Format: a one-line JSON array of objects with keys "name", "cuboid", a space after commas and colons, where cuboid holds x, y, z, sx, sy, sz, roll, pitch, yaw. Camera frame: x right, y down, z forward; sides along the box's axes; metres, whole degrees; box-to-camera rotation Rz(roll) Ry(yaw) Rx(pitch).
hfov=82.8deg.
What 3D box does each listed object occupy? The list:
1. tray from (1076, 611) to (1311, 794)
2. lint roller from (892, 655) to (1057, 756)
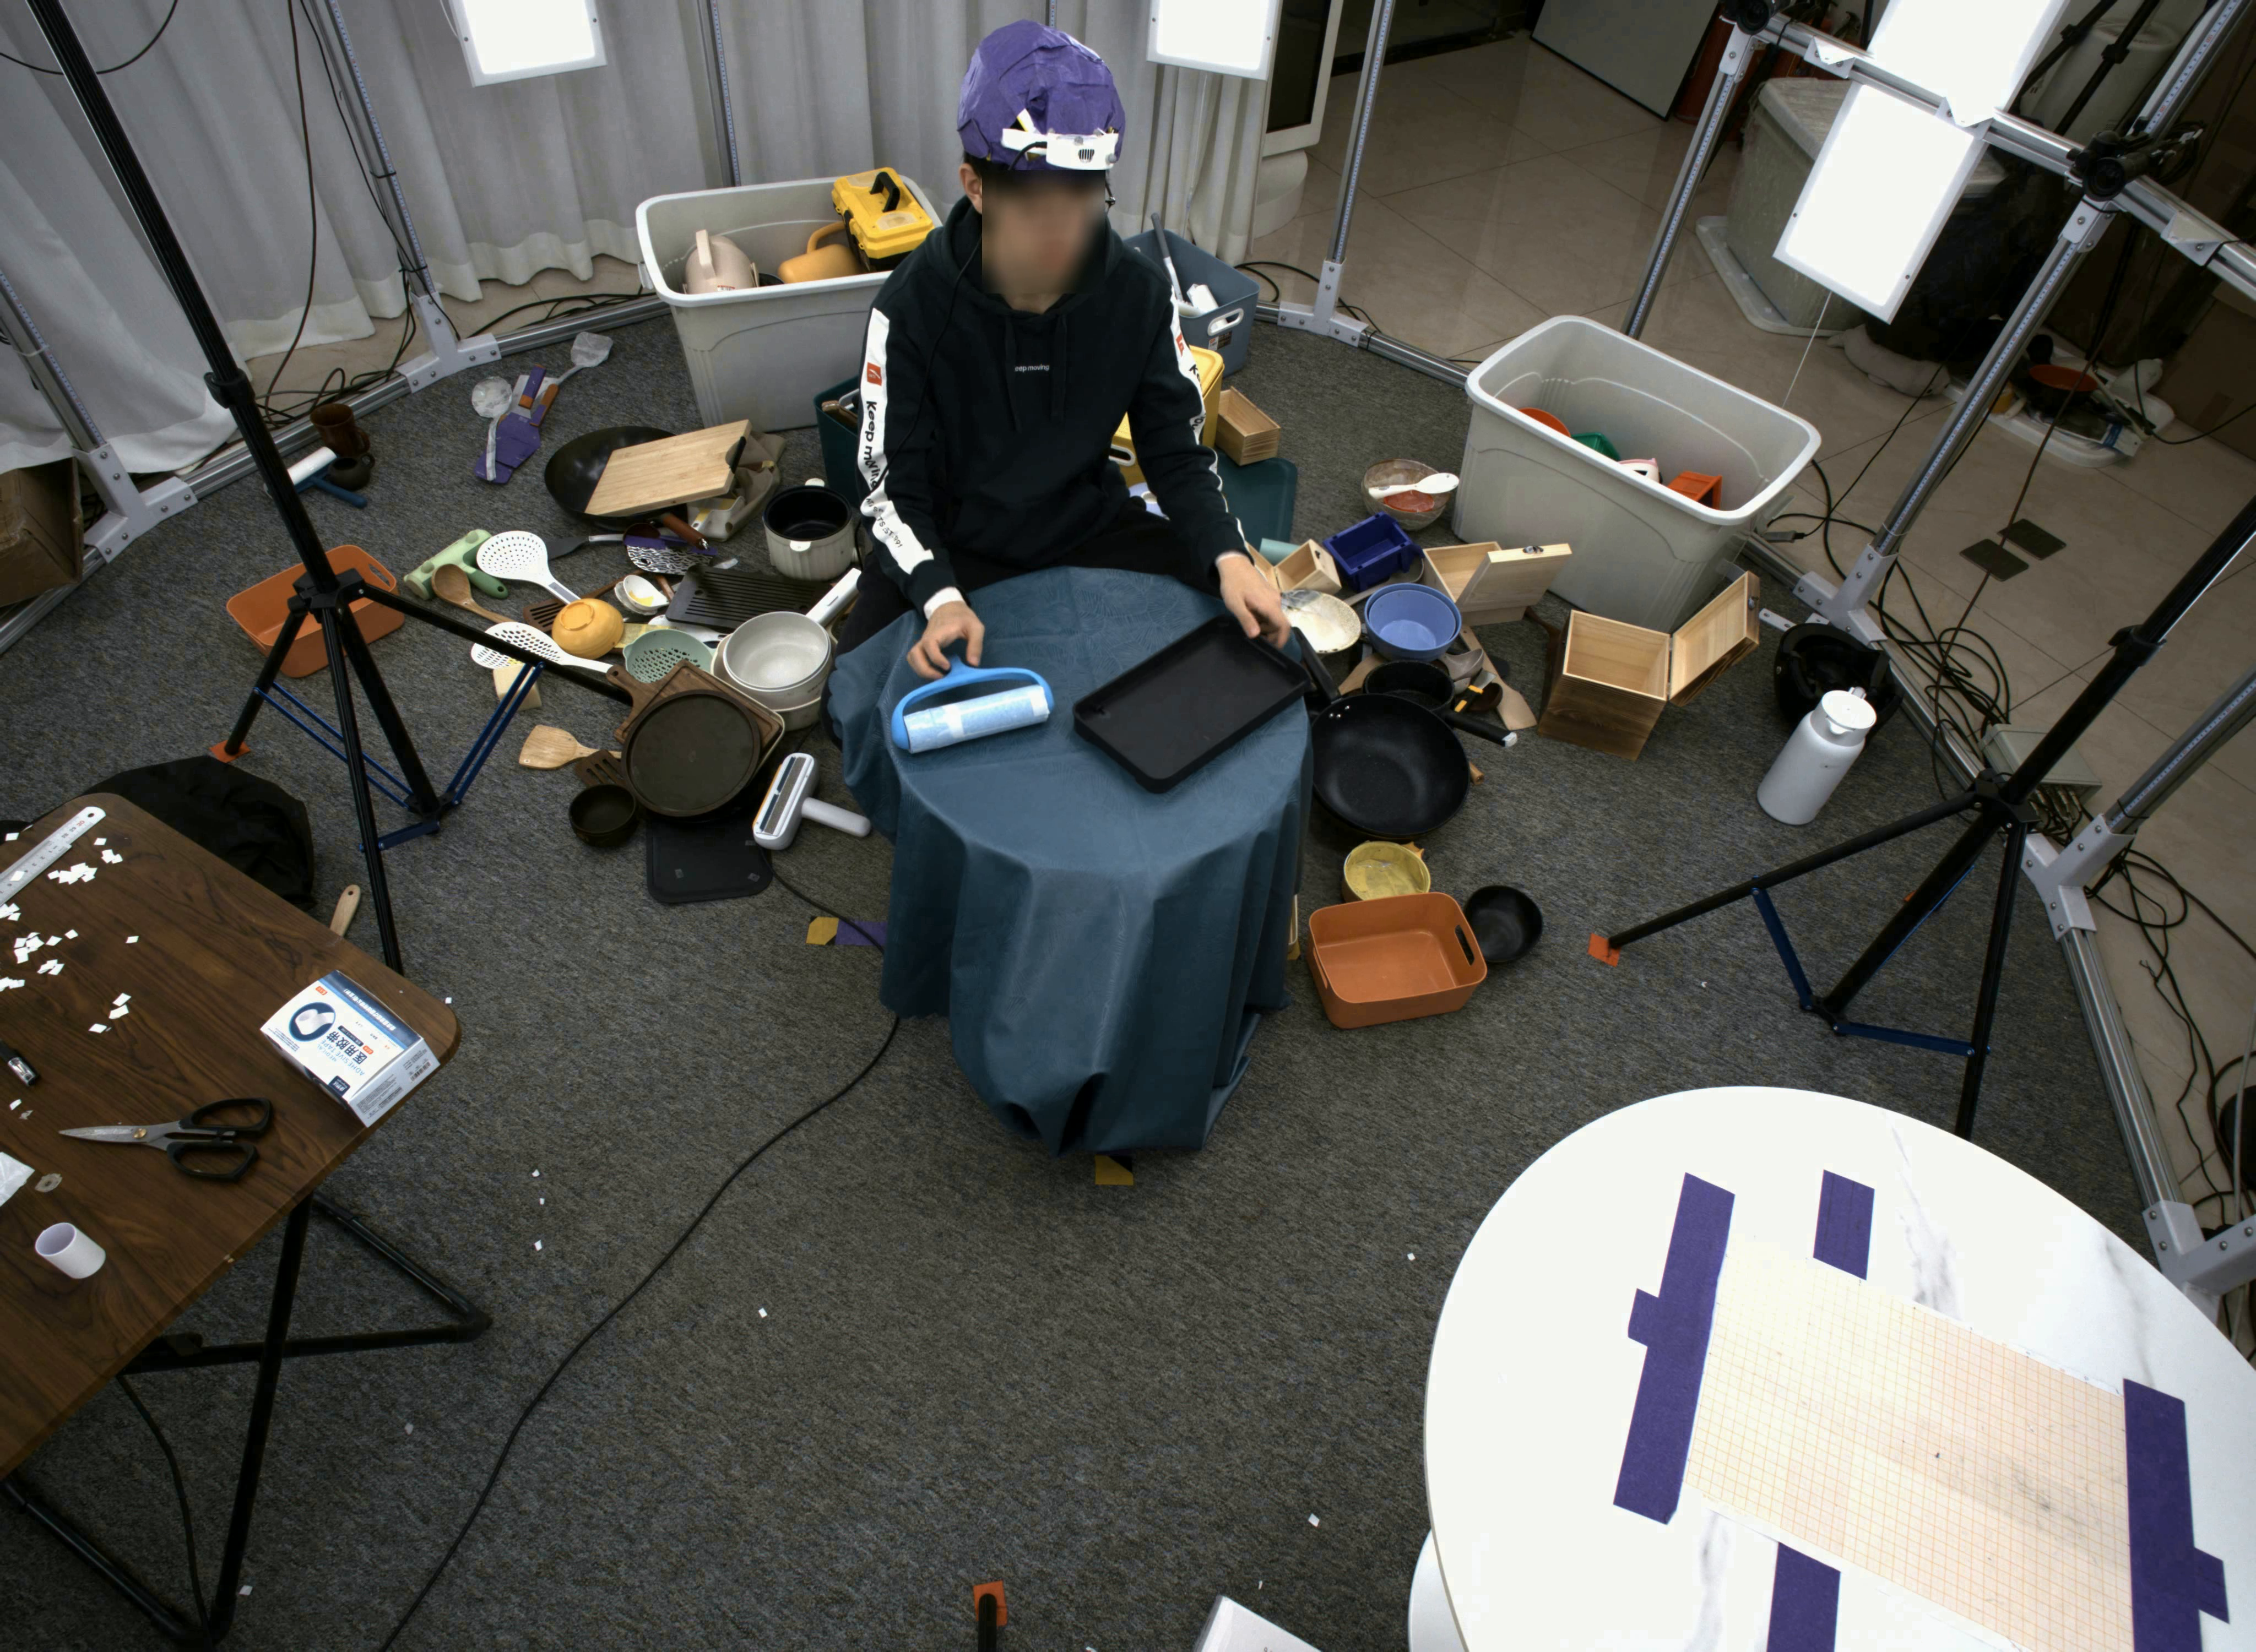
[{"name": "tray", "cuboid": [0.095, -0.180, 1.808, 0.187, 0.036, 0.321, 38, 58, 26]}, {"name": "lint roller", "cuboid": [-0.231, -0.190, 1.781, 0.229, 0.066, 0.184, -18, 54, -16]}]
